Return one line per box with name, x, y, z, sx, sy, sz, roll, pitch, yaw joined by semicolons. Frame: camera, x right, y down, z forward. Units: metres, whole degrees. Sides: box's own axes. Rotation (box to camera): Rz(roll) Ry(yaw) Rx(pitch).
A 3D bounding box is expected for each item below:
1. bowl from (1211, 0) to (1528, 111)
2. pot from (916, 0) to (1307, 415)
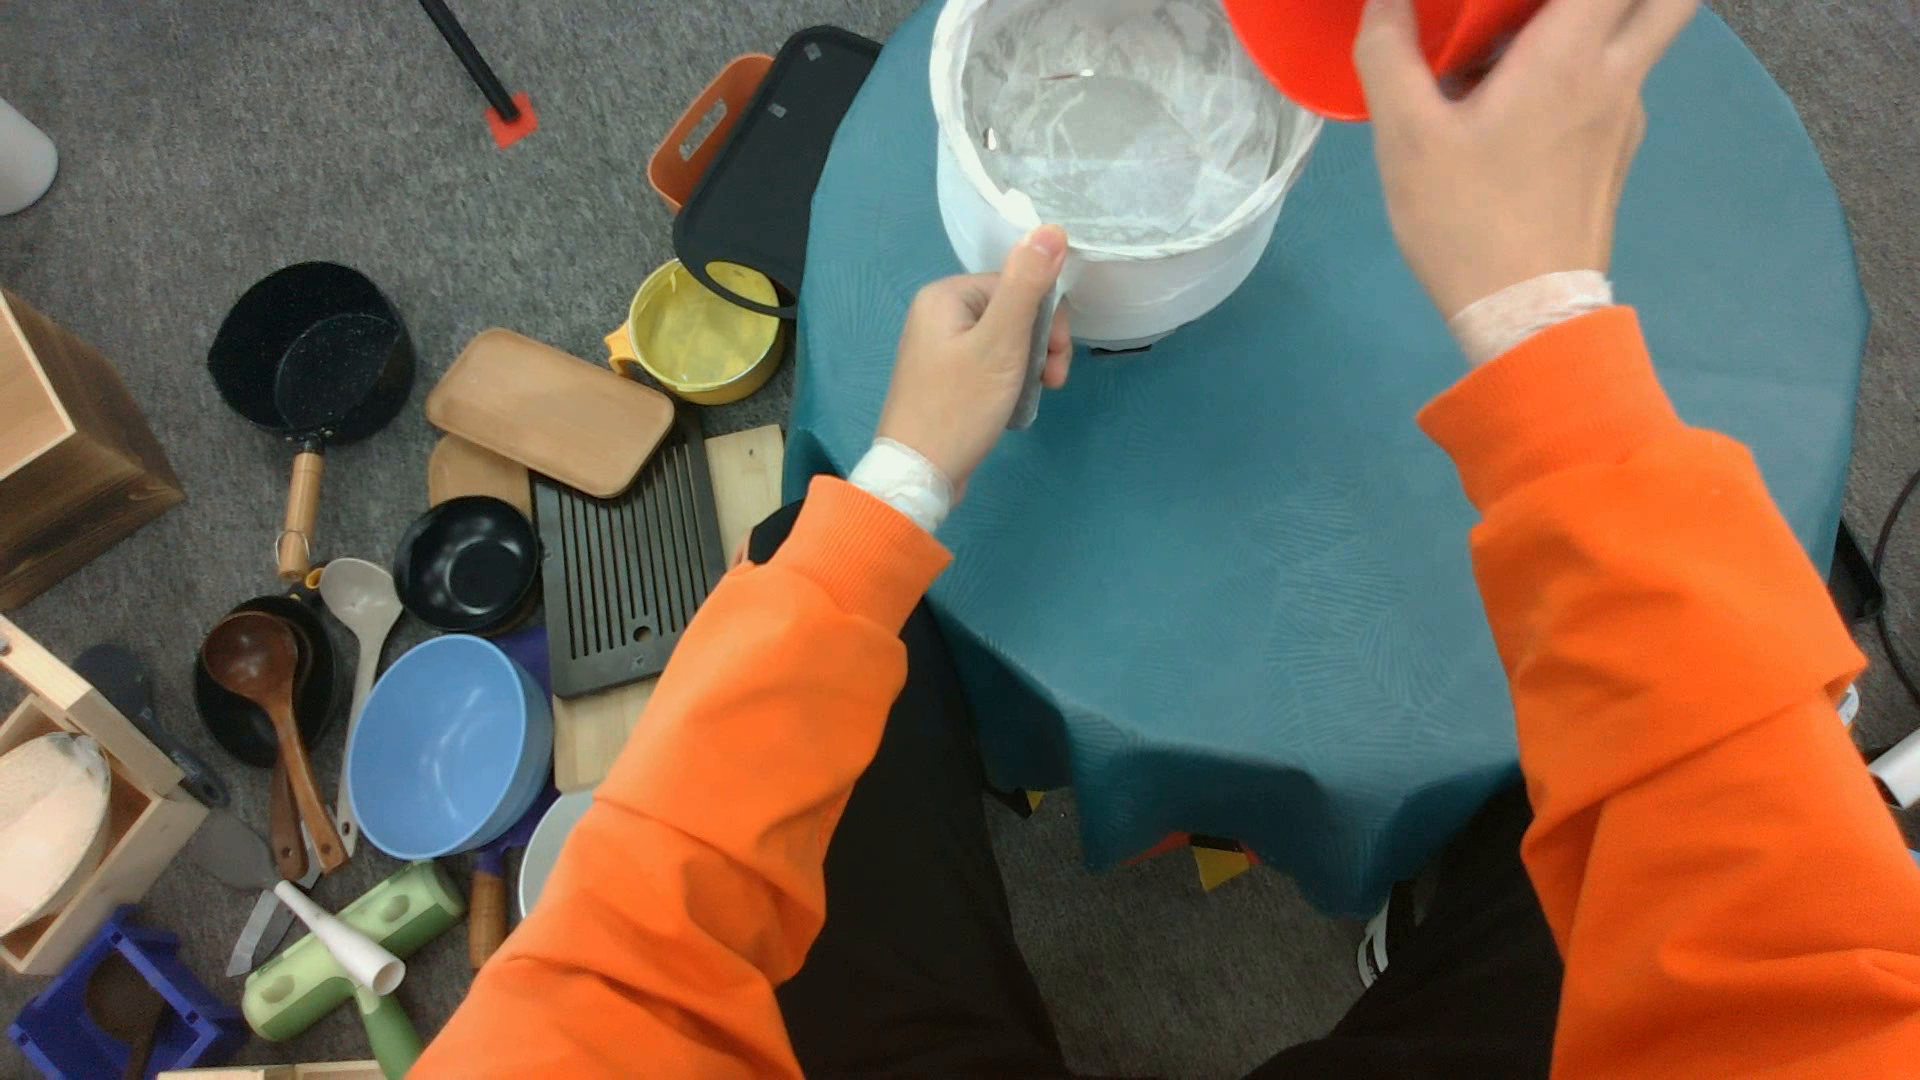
bowl;0.164;-0.244;0.519;0.105;0.147;0.148;-17;70;-15
pot;0.058;-0.177;0.671;0.178;0.136;0.234;22;79;5
